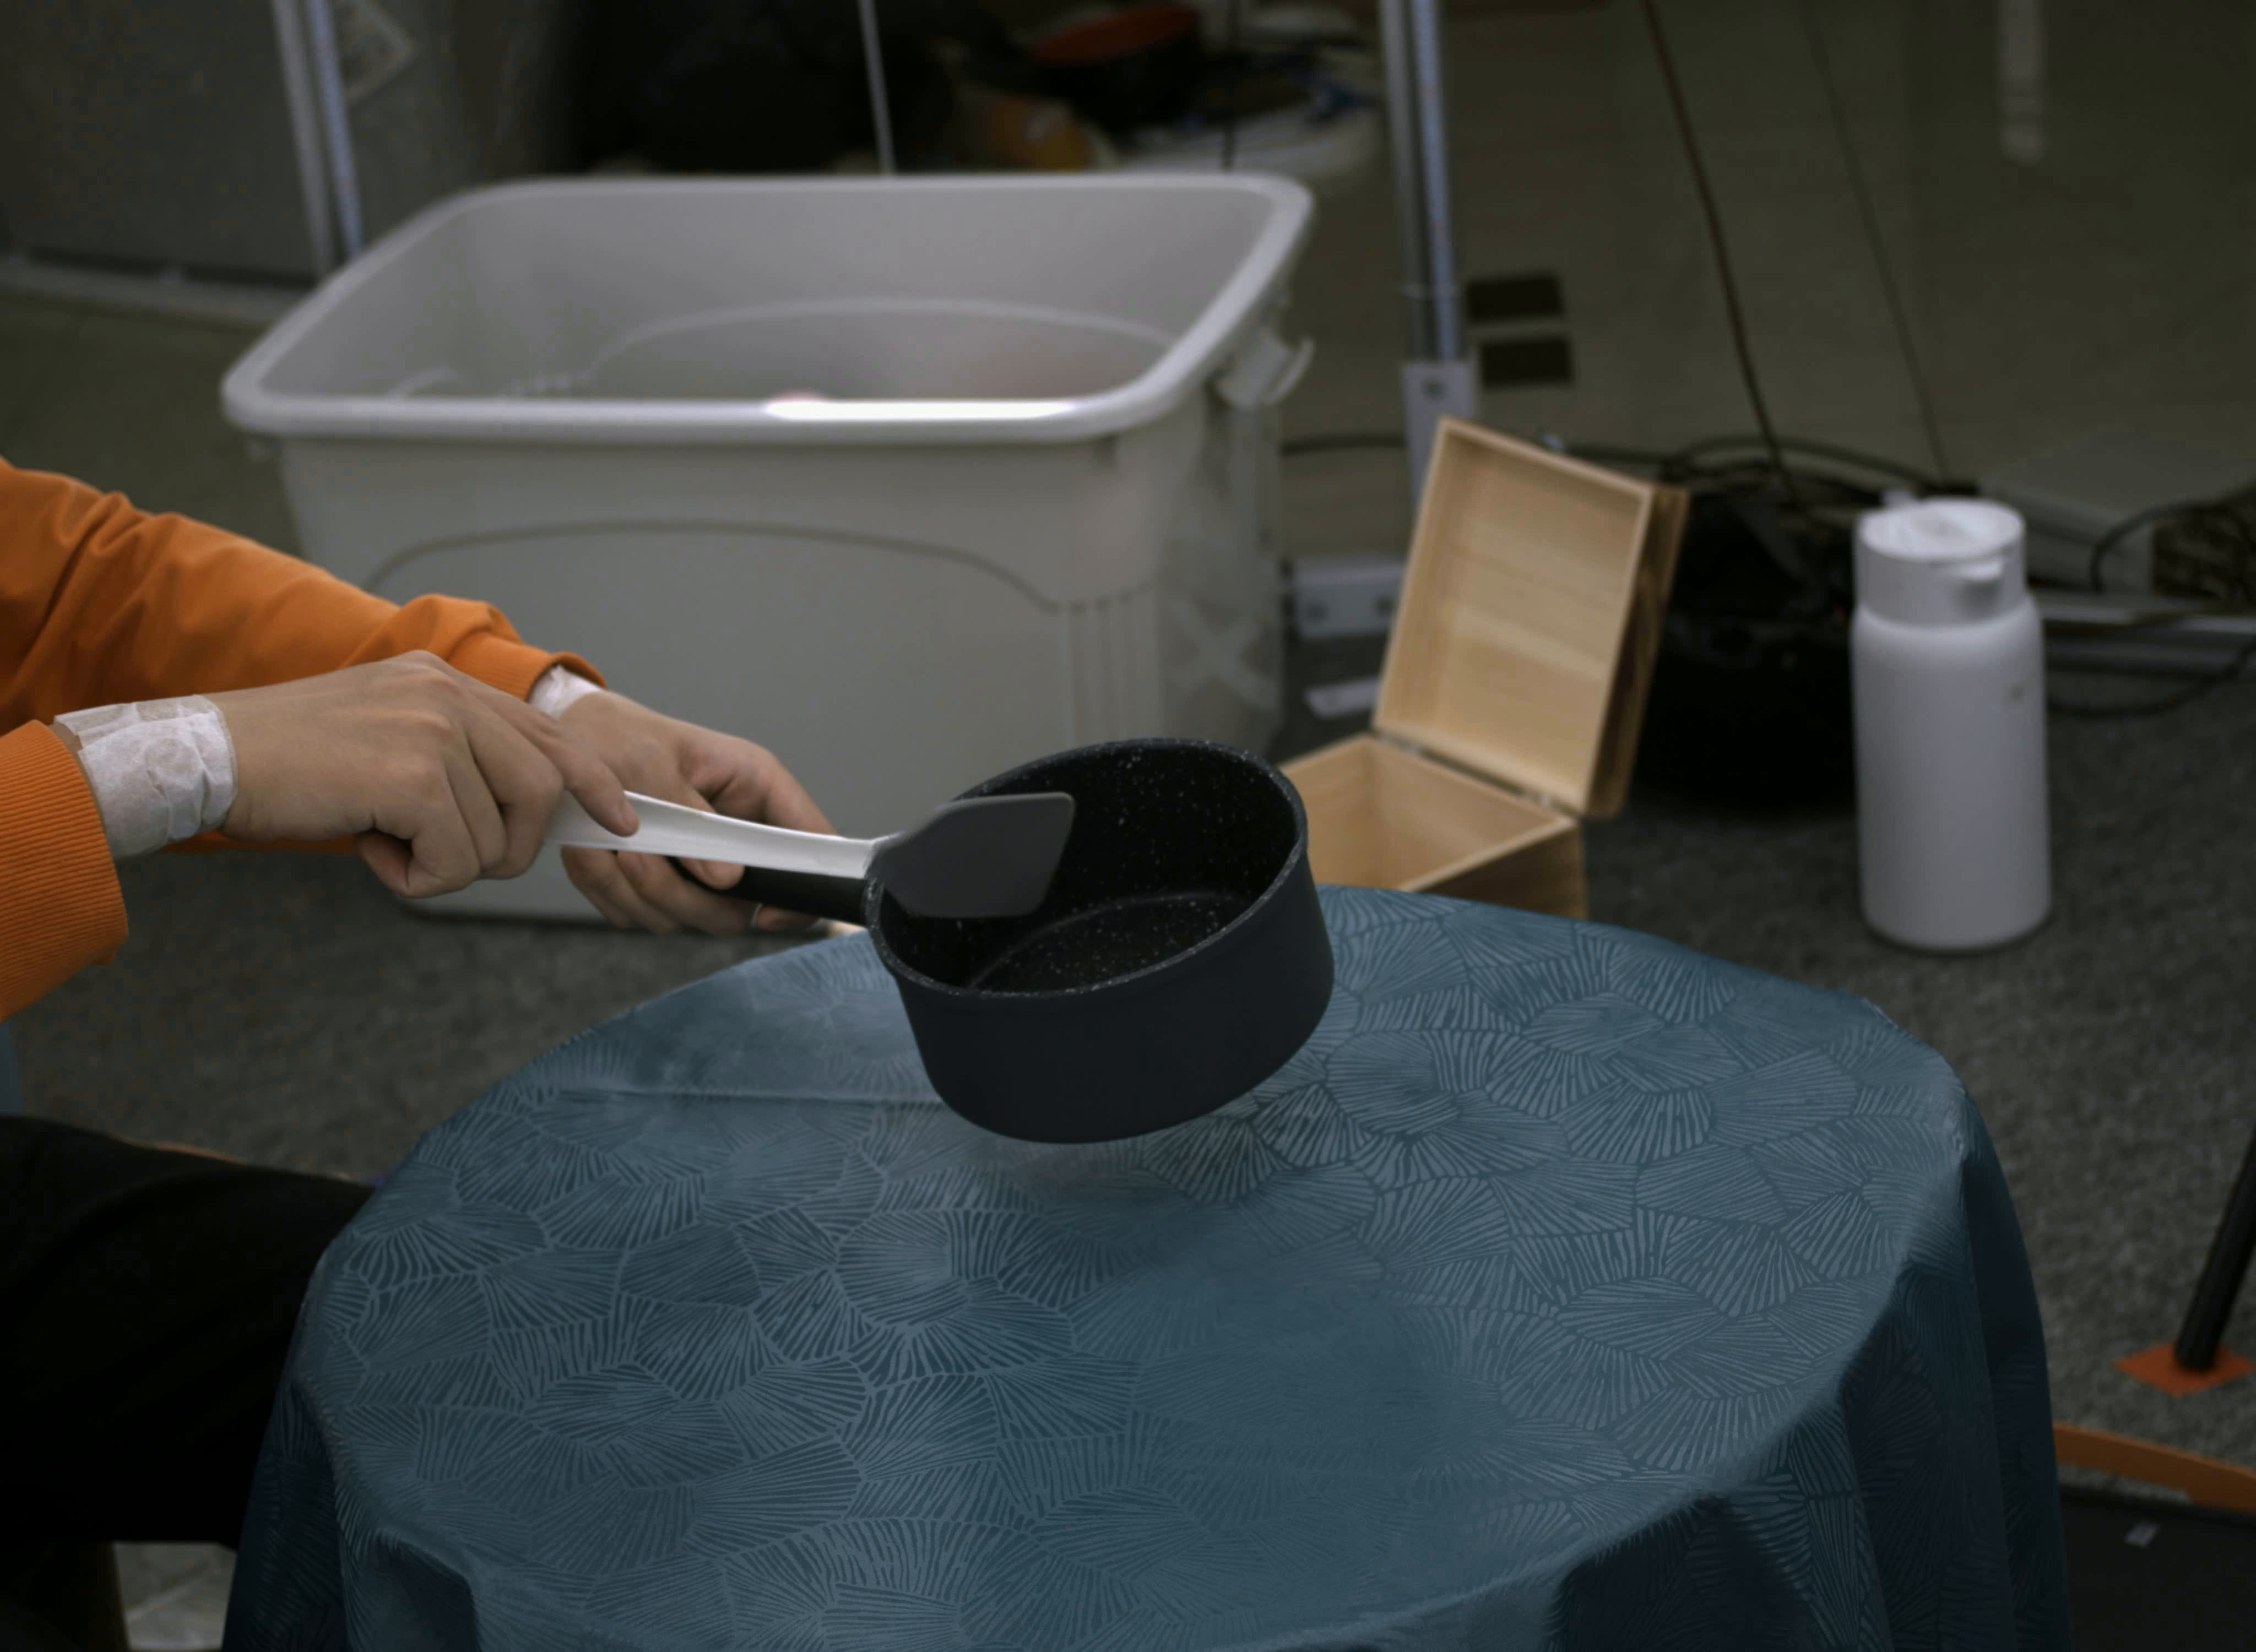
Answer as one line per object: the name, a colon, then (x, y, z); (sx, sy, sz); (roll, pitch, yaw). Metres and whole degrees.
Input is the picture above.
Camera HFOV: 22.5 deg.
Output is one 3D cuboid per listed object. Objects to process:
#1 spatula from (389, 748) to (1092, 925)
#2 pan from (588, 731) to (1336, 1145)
spatula: (-0.134, 0.002, 2.062); (0.288, 0.059, 0.032); (6, 20, -34)
pan: (-0.075, 0.034, 2.196); (0.327, 0.088, 0.169); (8, 39, 31)
